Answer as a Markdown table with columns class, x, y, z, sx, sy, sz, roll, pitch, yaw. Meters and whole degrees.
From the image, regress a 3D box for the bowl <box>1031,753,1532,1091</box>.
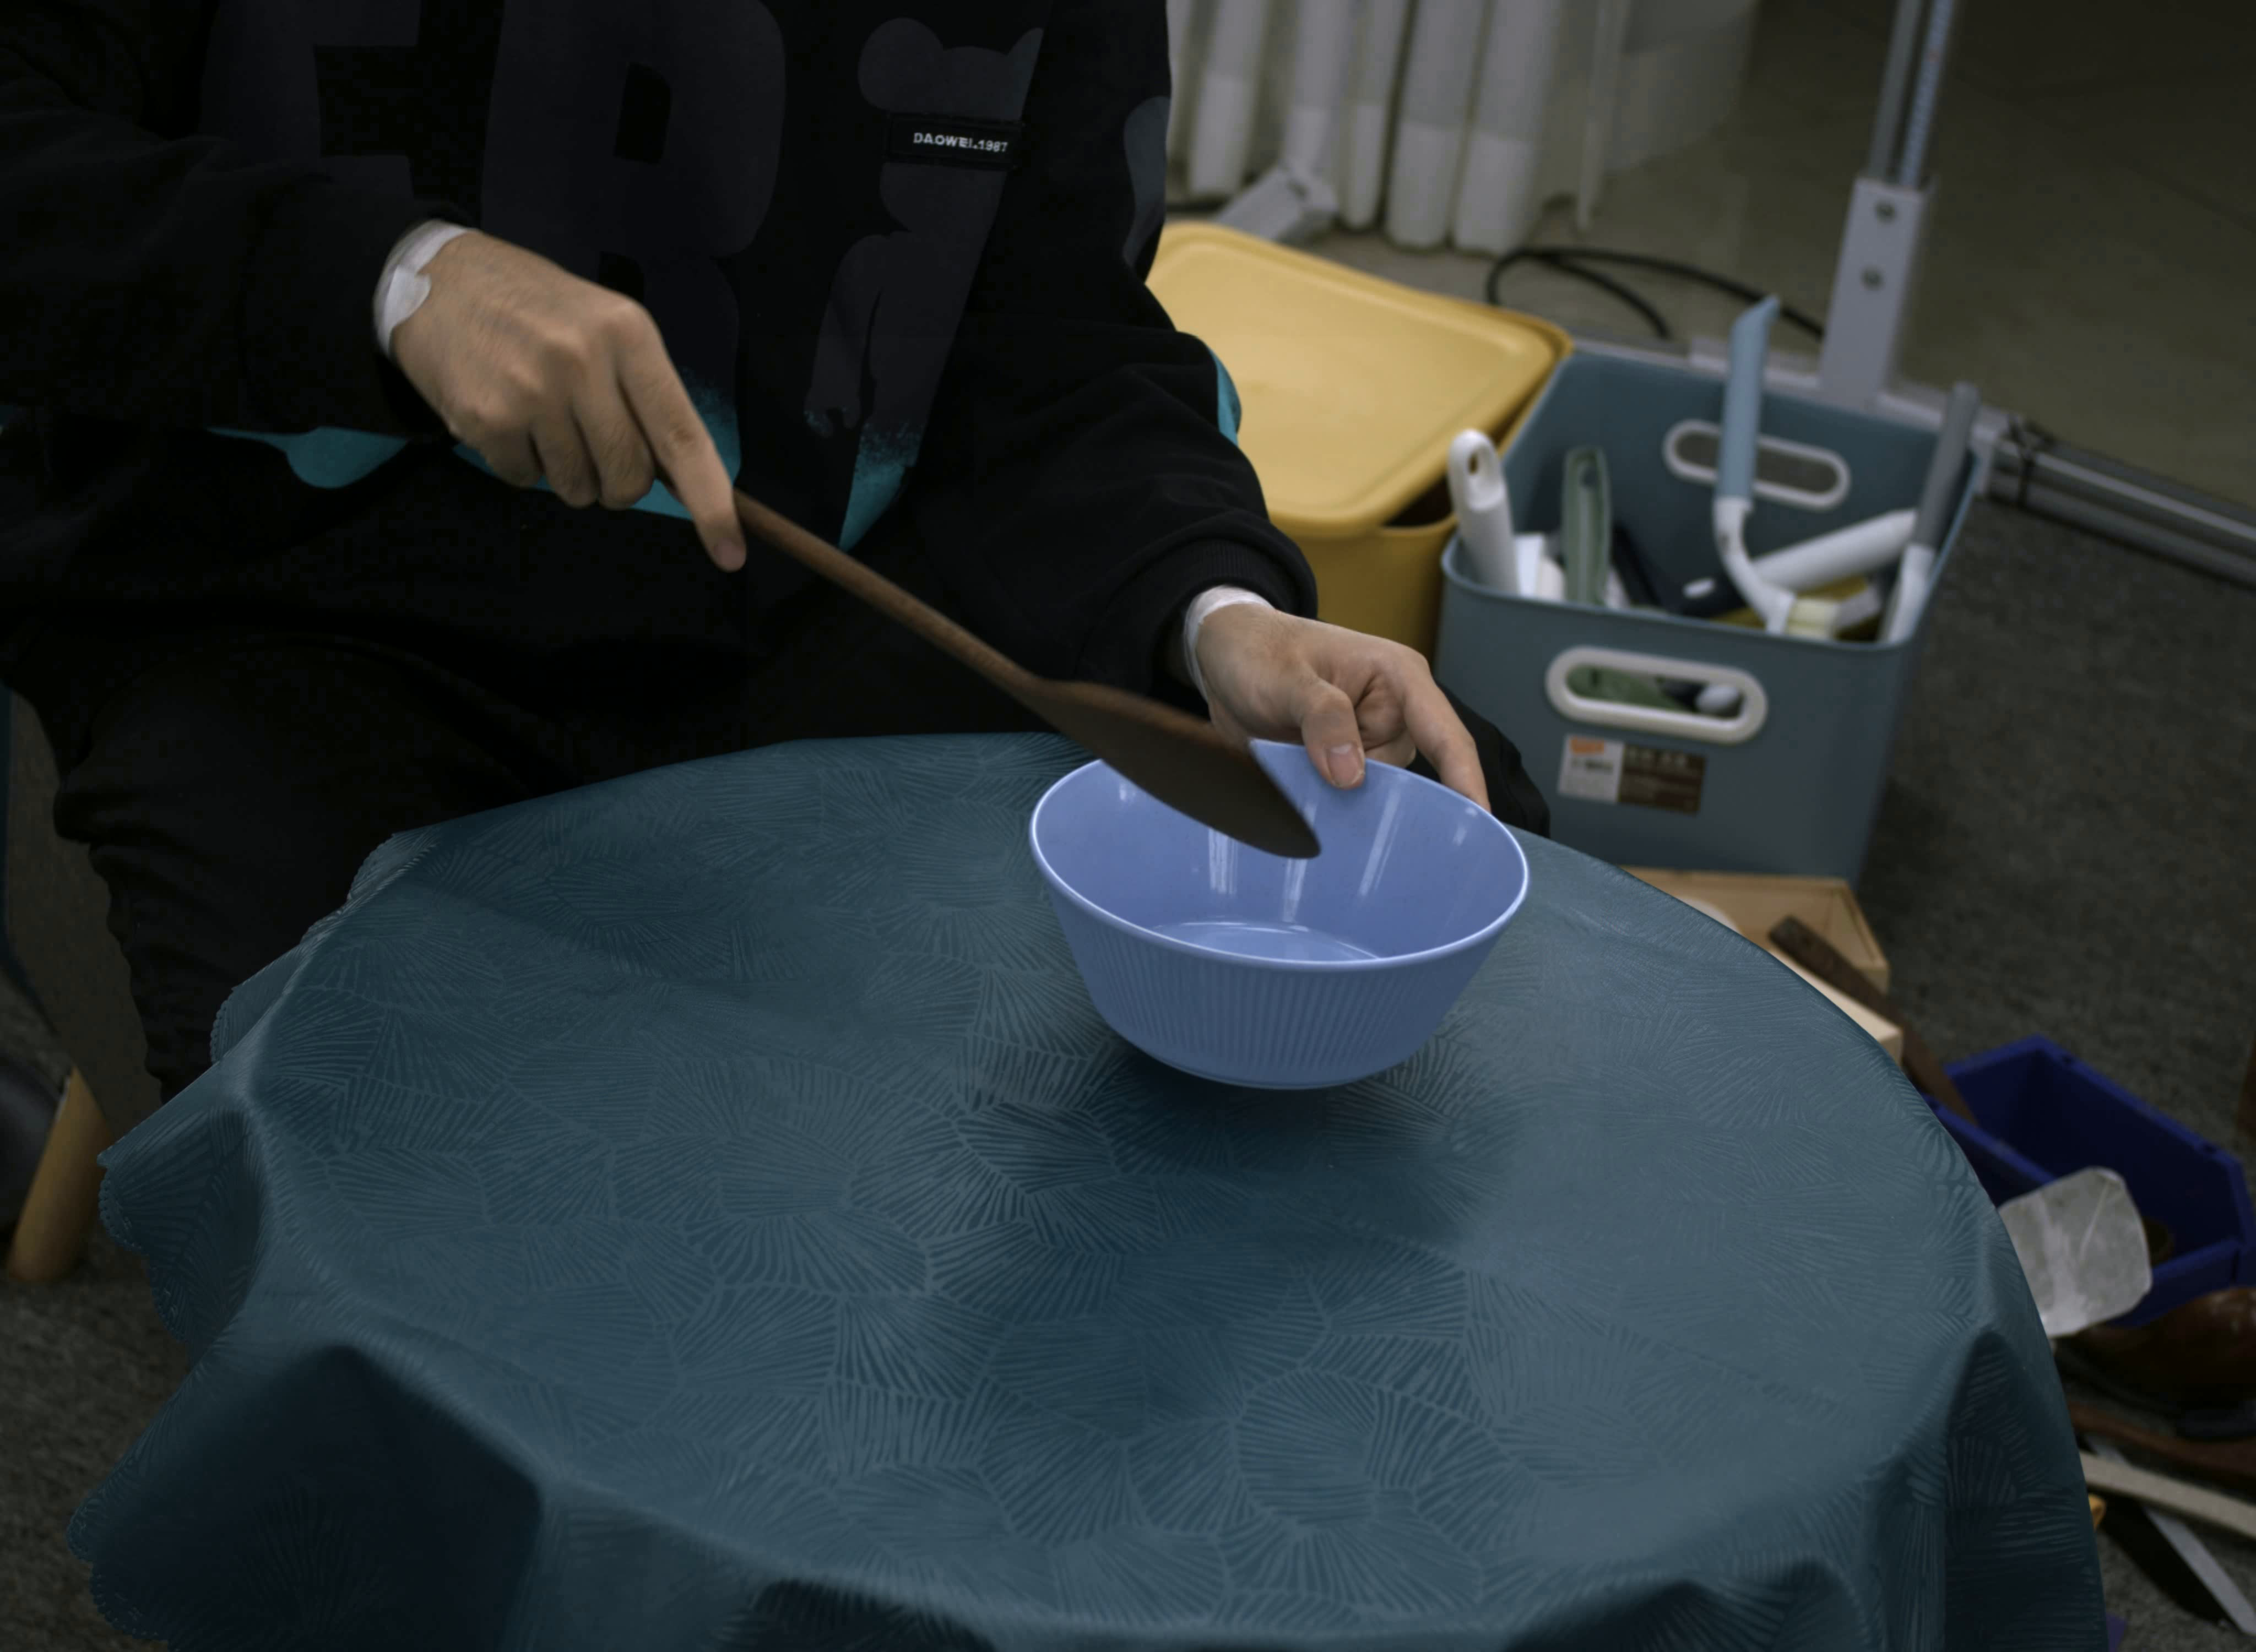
| class | x | y | z | sx | sy | sz | roll | pitch | yaw |
| --- | --- | --- | --- | --- | --- | --- | --- | --- | --- |
| bowl | 0.051 | 0.038 | 1.863 | 0.175 | 0.070 | 0.177 | 4 | 24 | -2 |

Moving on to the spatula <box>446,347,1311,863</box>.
| class | x | y | z | sx | sy | sz | roll | pitch | yaw |
| --- | --- | --- | --- | --- | --- | --- | --- | --- | --- |
| spatula | -0.094 | -0.083 | 1.808 | 0.388 | 0.016 | 0.095 | 31 | -9 | 29 |
